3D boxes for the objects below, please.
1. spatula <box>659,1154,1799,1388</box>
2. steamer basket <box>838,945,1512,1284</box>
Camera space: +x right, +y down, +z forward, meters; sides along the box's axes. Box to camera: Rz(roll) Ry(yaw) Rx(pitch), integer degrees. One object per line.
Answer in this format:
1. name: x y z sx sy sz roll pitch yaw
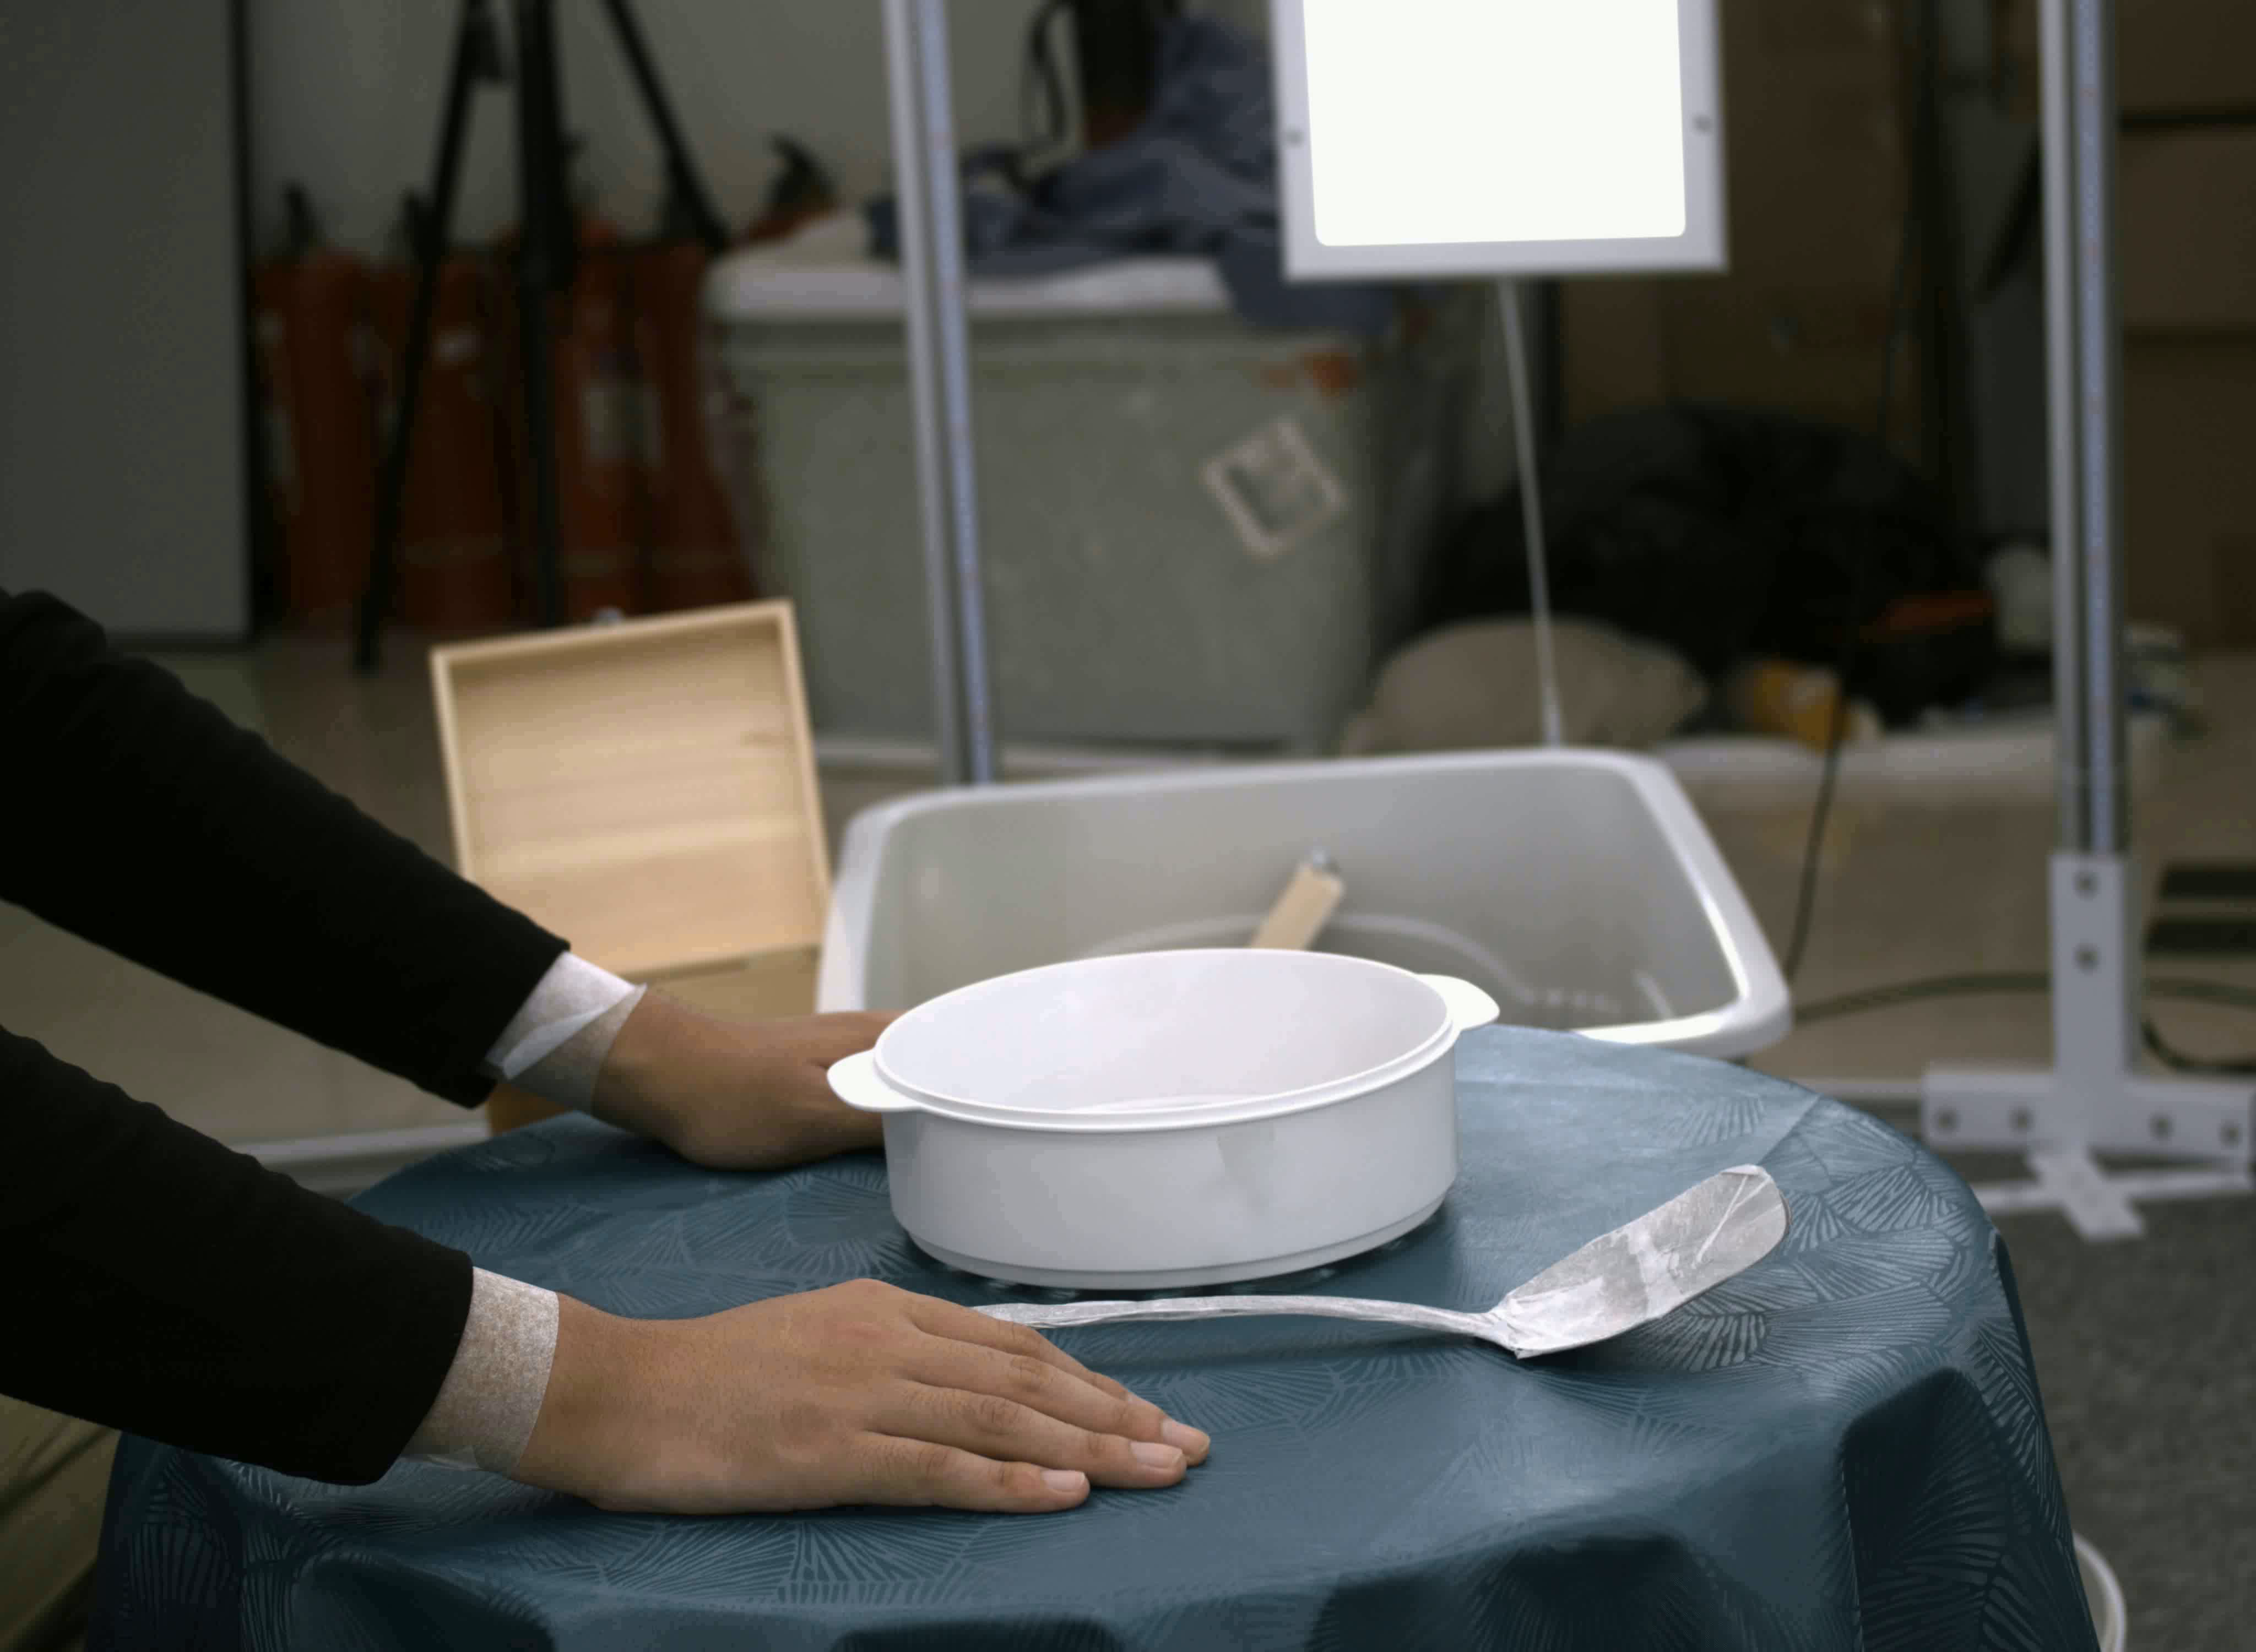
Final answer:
1. spatula: 0.029 0.147 1.726 0.365 0.045 0.098 -4 16 5
2. steamer basket: 0.019 0.098 1.862 0.228 0.069 0.203 -8 13 -10
